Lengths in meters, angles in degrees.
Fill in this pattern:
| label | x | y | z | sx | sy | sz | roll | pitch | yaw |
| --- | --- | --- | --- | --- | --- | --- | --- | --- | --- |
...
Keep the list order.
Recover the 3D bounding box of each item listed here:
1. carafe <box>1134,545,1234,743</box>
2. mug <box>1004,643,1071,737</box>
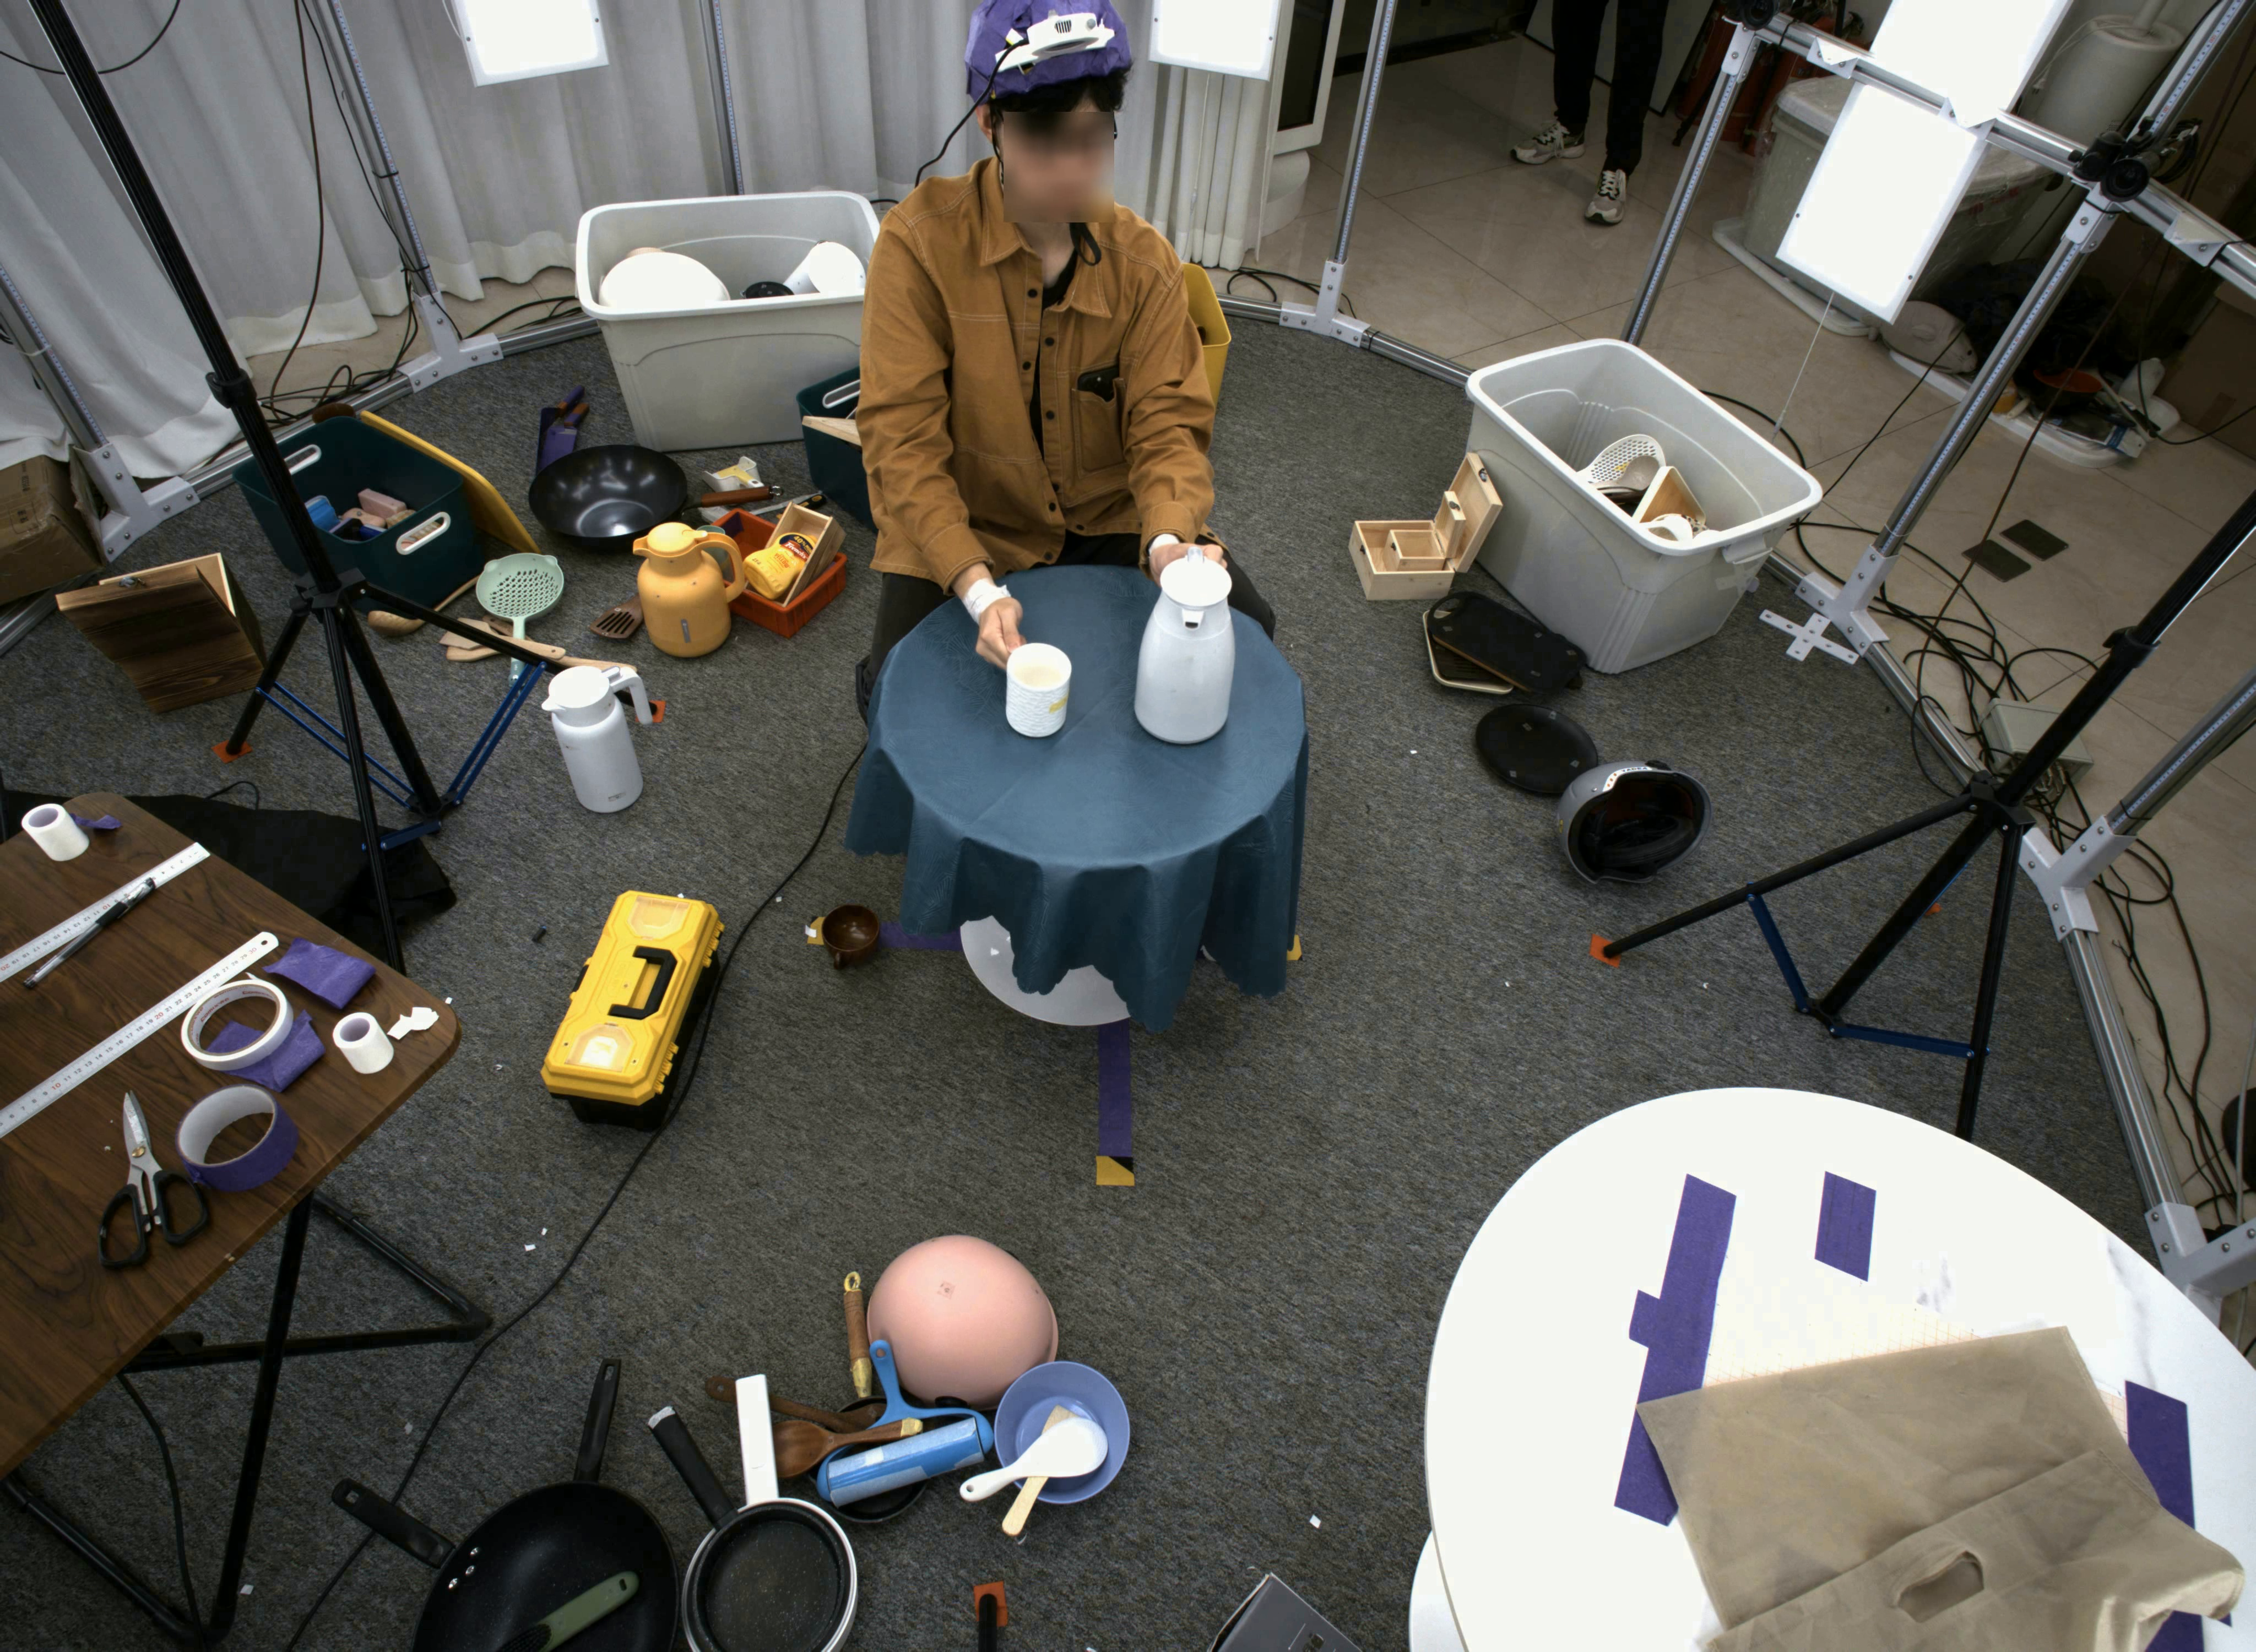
| label | x | y | z | sx | sy | sz | roll | pitch | yaw |
| --- | --- | --- | --- | --- | --- | --- | --- | --- | --- |
| carafe | 0.079 | -0.256 | 1.725 | 0.132 | 0.242 | 0.172 | 4 | 51 | 1 |
| mug | -0.133 | -0.195 | 1.759 | 0.085 | 0.099 | 0.120 | -27 | 60 | -25 |
